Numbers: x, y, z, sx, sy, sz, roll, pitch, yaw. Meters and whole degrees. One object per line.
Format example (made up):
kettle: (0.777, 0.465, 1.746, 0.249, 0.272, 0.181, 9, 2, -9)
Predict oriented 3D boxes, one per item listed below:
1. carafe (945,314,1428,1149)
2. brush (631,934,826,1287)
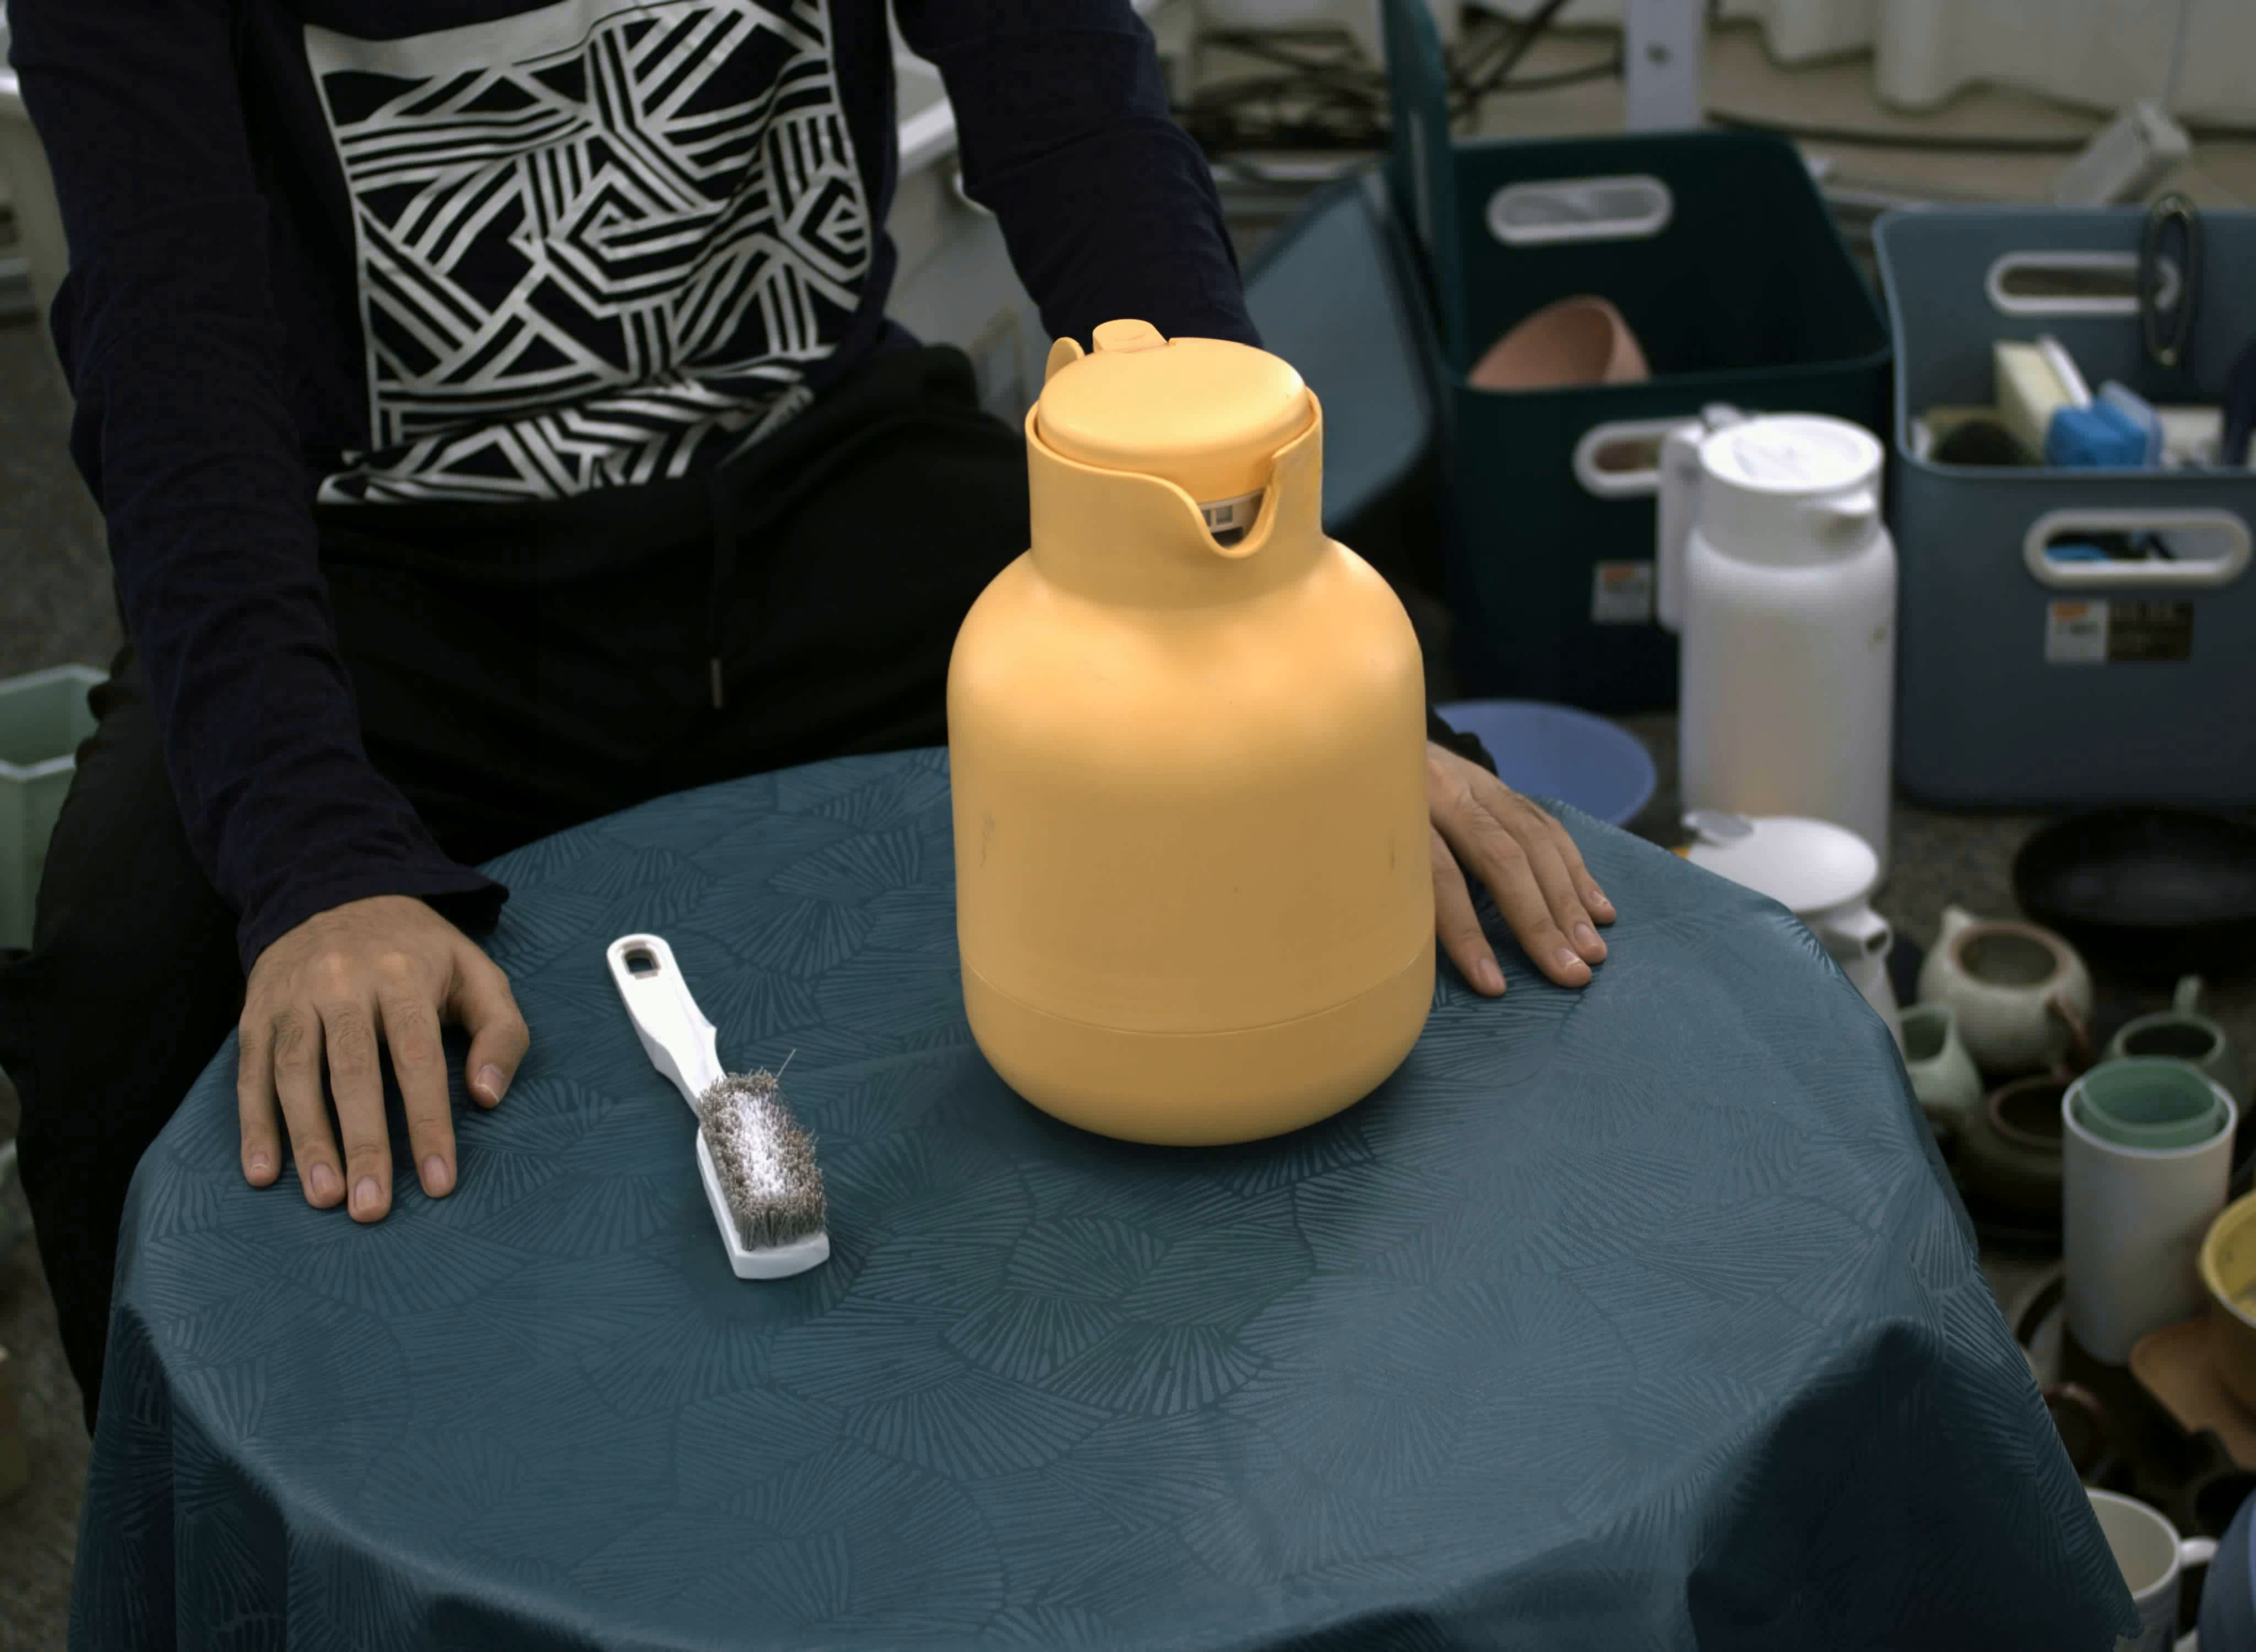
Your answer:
carafe: (0.015, -0.041, 1.894, 0.163, 0.257, 0.204, -7, 27, -14)
brush: (-0.141, 0.079, 1.905, 0.034, 0.050, 0.246, -12, 29, -9)
